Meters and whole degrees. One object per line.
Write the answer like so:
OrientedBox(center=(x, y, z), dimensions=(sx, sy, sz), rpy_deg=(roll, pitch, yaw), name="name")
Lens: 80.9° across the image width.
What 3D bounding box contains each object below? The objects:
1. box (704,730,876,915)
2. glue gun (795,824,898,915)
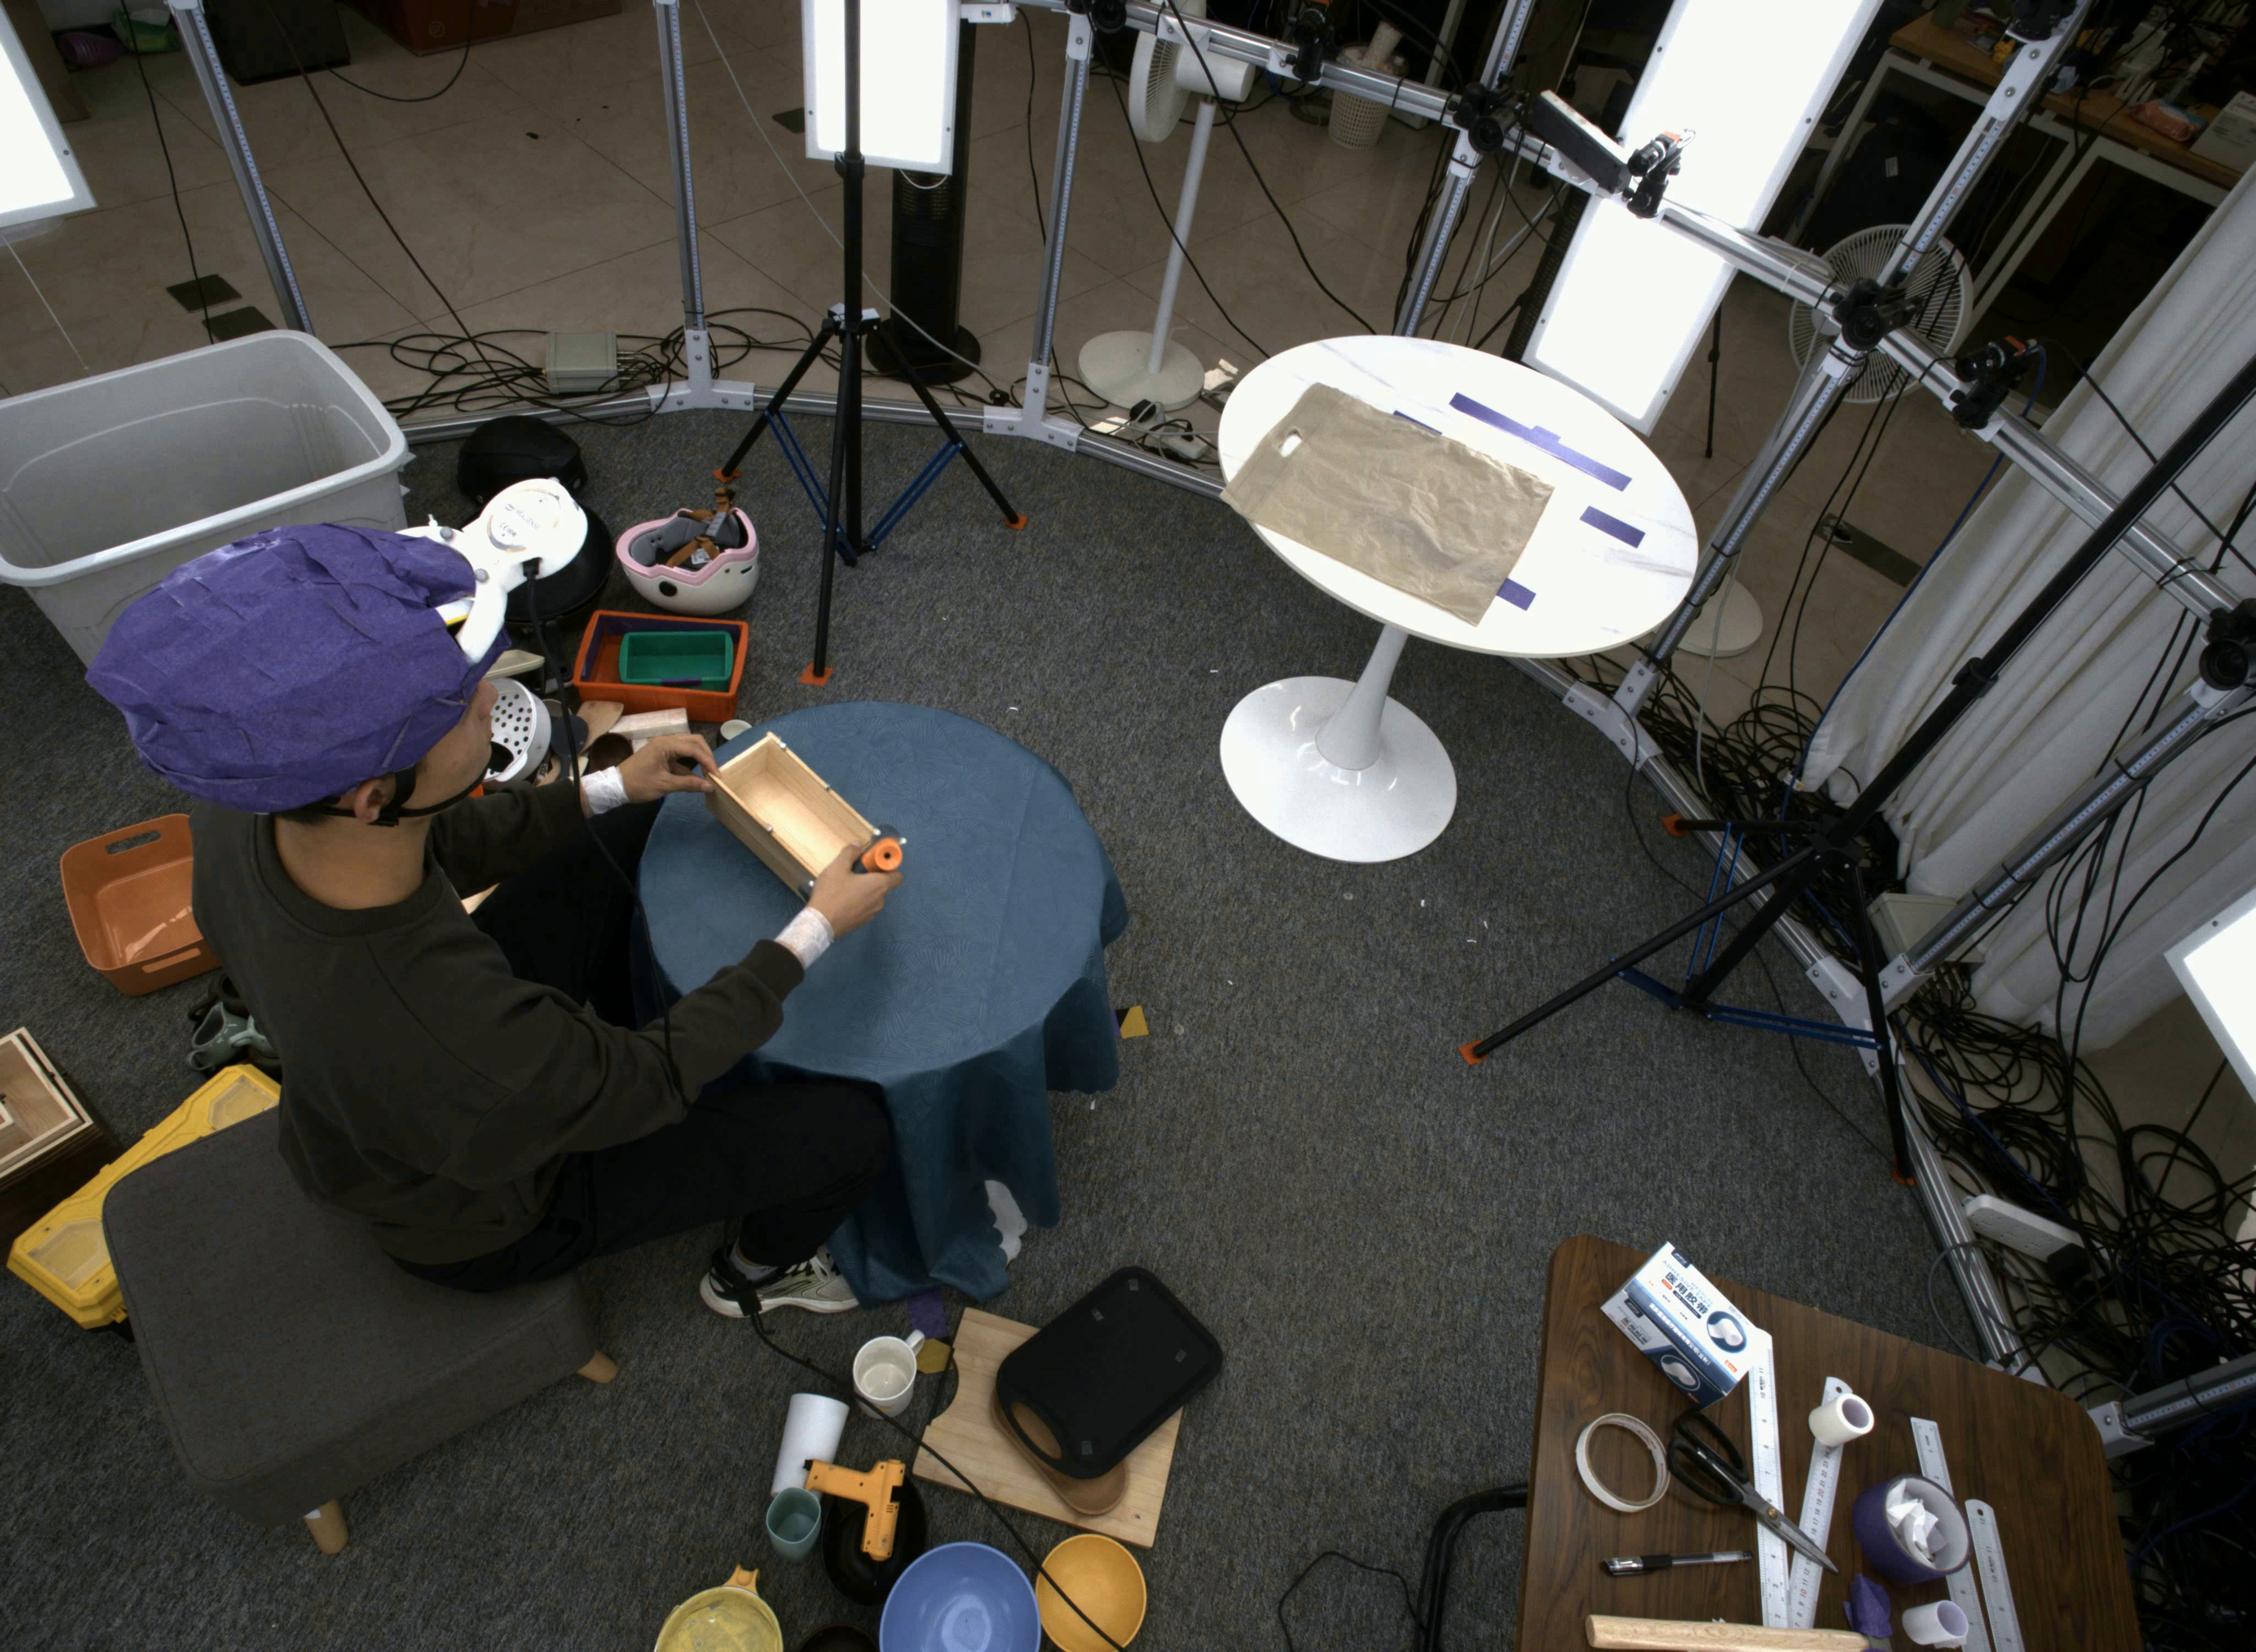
OrientedBox(center=(-0.428, -0.006, 1.653), dimensions=(0.209, 0.081, 0.107), rpy_deg=(41, 56, 7), name="box")
OrientedBox(center=(-0.325, 0.045, 1.542), dimensions=(0.140, 0.115, 0.042), rpy_deg=(-39, 104, -20), name="glue gun")
